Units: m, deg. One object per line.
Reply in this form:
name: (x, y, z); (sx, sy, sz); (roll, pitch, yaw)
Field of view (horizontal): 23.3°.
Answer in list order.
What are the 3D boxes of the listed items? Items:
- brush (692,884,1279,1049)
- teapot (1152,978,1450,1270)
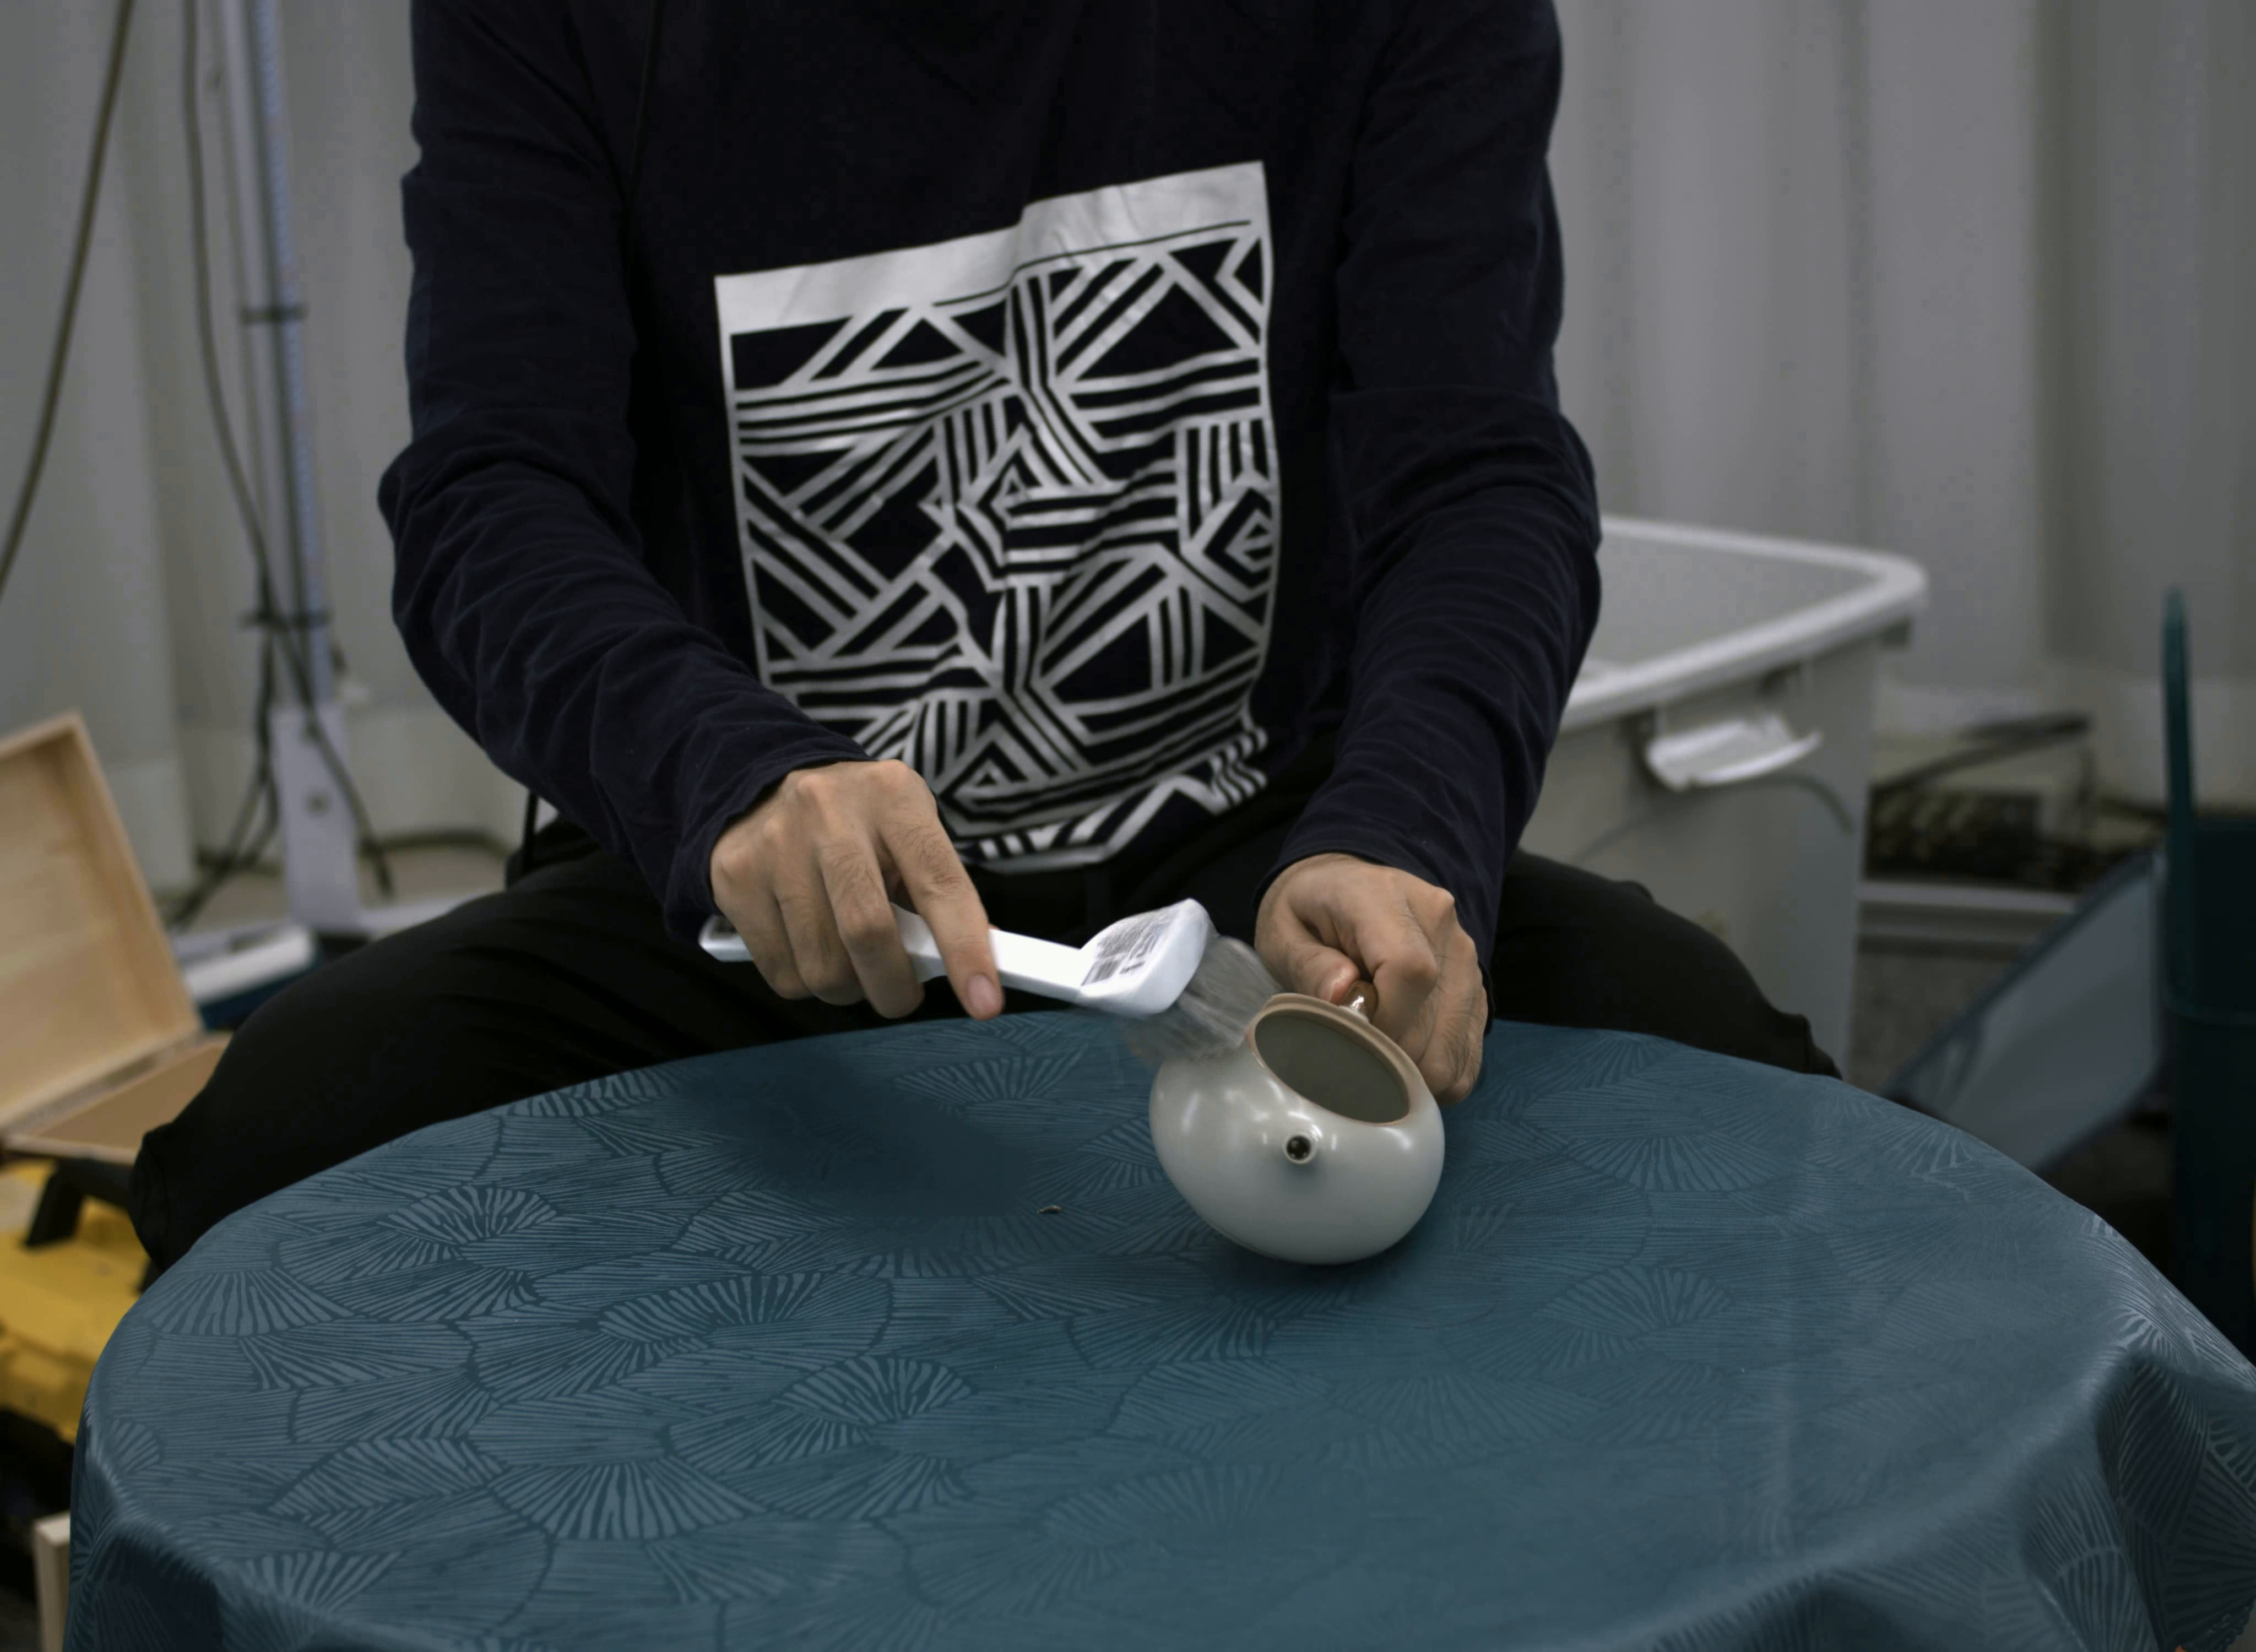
brush: (-0.045, 0.046, 1.685); (0.244, 0.035, 0.049); (-4, -33, 48)
teapot: (0.054, 0.088, 1.651); (0.091, 0.059, 0.129); (24, 28, 0)
